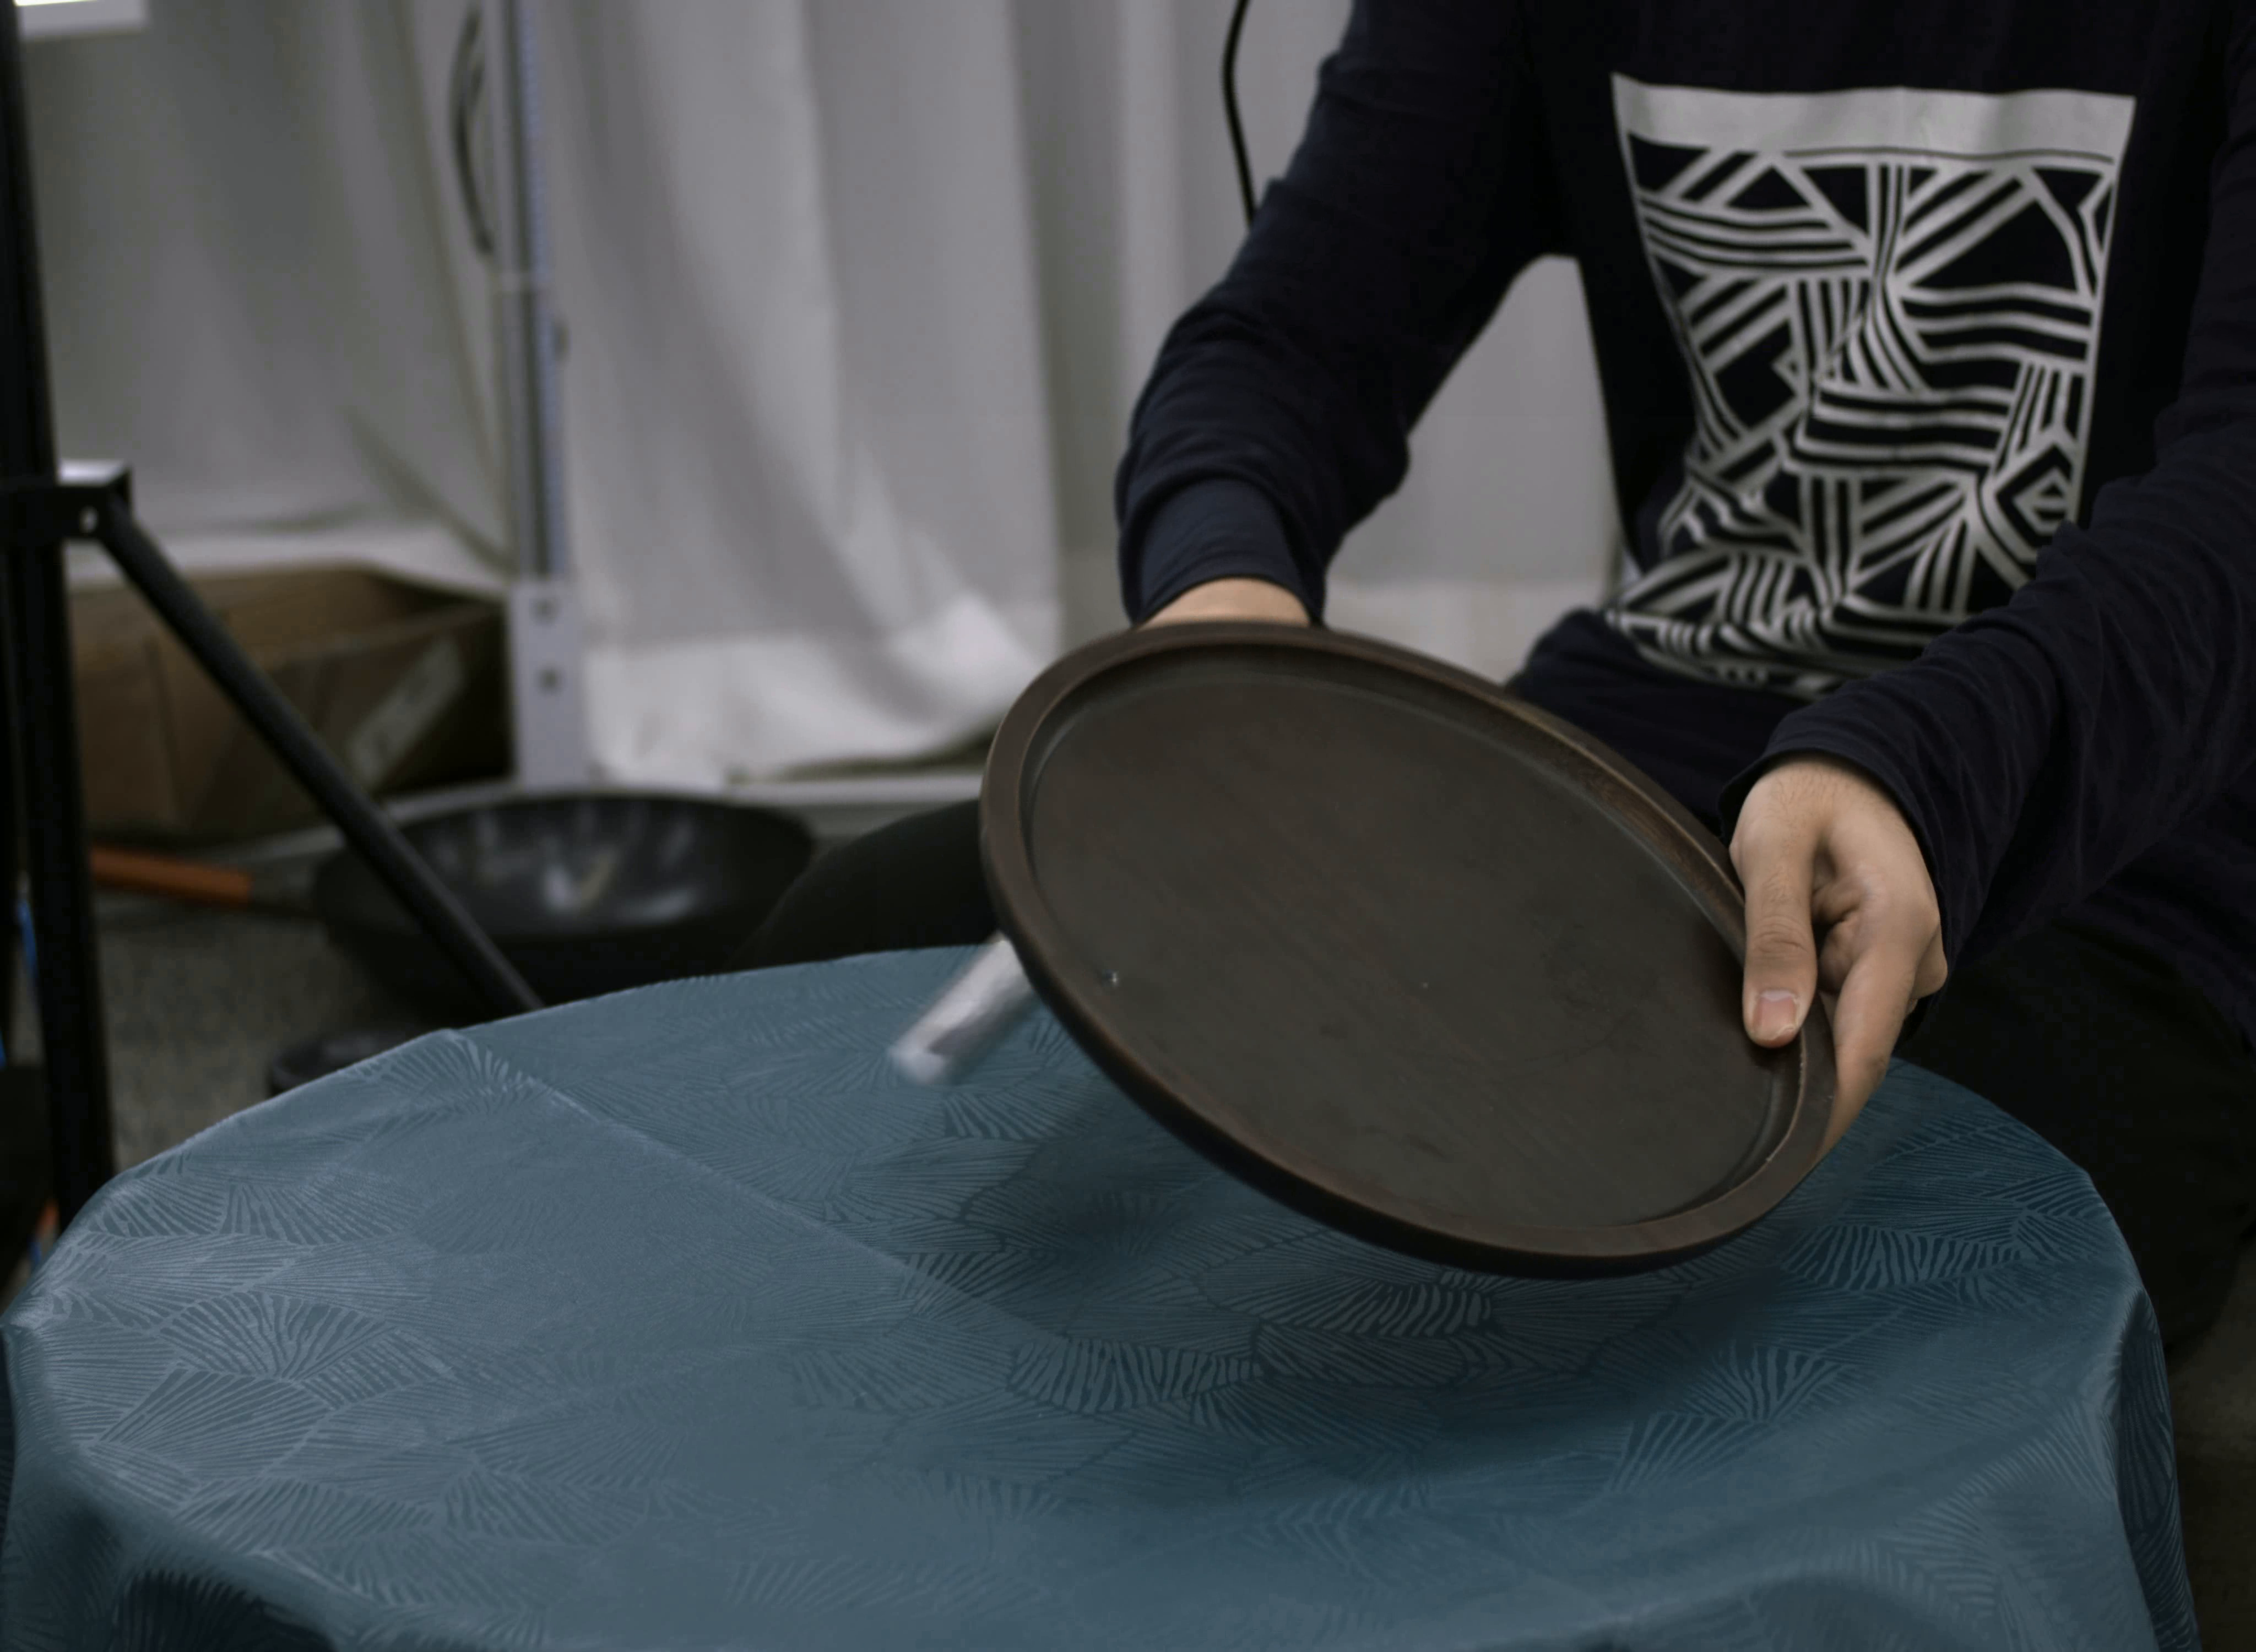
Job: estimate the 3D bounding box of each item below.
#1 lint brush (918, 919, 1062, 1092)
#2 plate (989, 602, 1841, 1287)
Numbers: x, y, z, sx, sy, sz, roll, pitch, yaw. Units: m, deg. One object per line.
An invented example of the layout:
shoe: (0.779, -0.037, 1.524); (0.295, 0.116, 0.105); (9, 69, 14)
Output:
lint brush: (0.000, 0.009, 1.656); (0.021, 0.060, 0.306); (41, 27, 0)
plate: (0.078, 0.030, 1.448); (0.250, 0.029, 0.257); (17, 38, -15)
